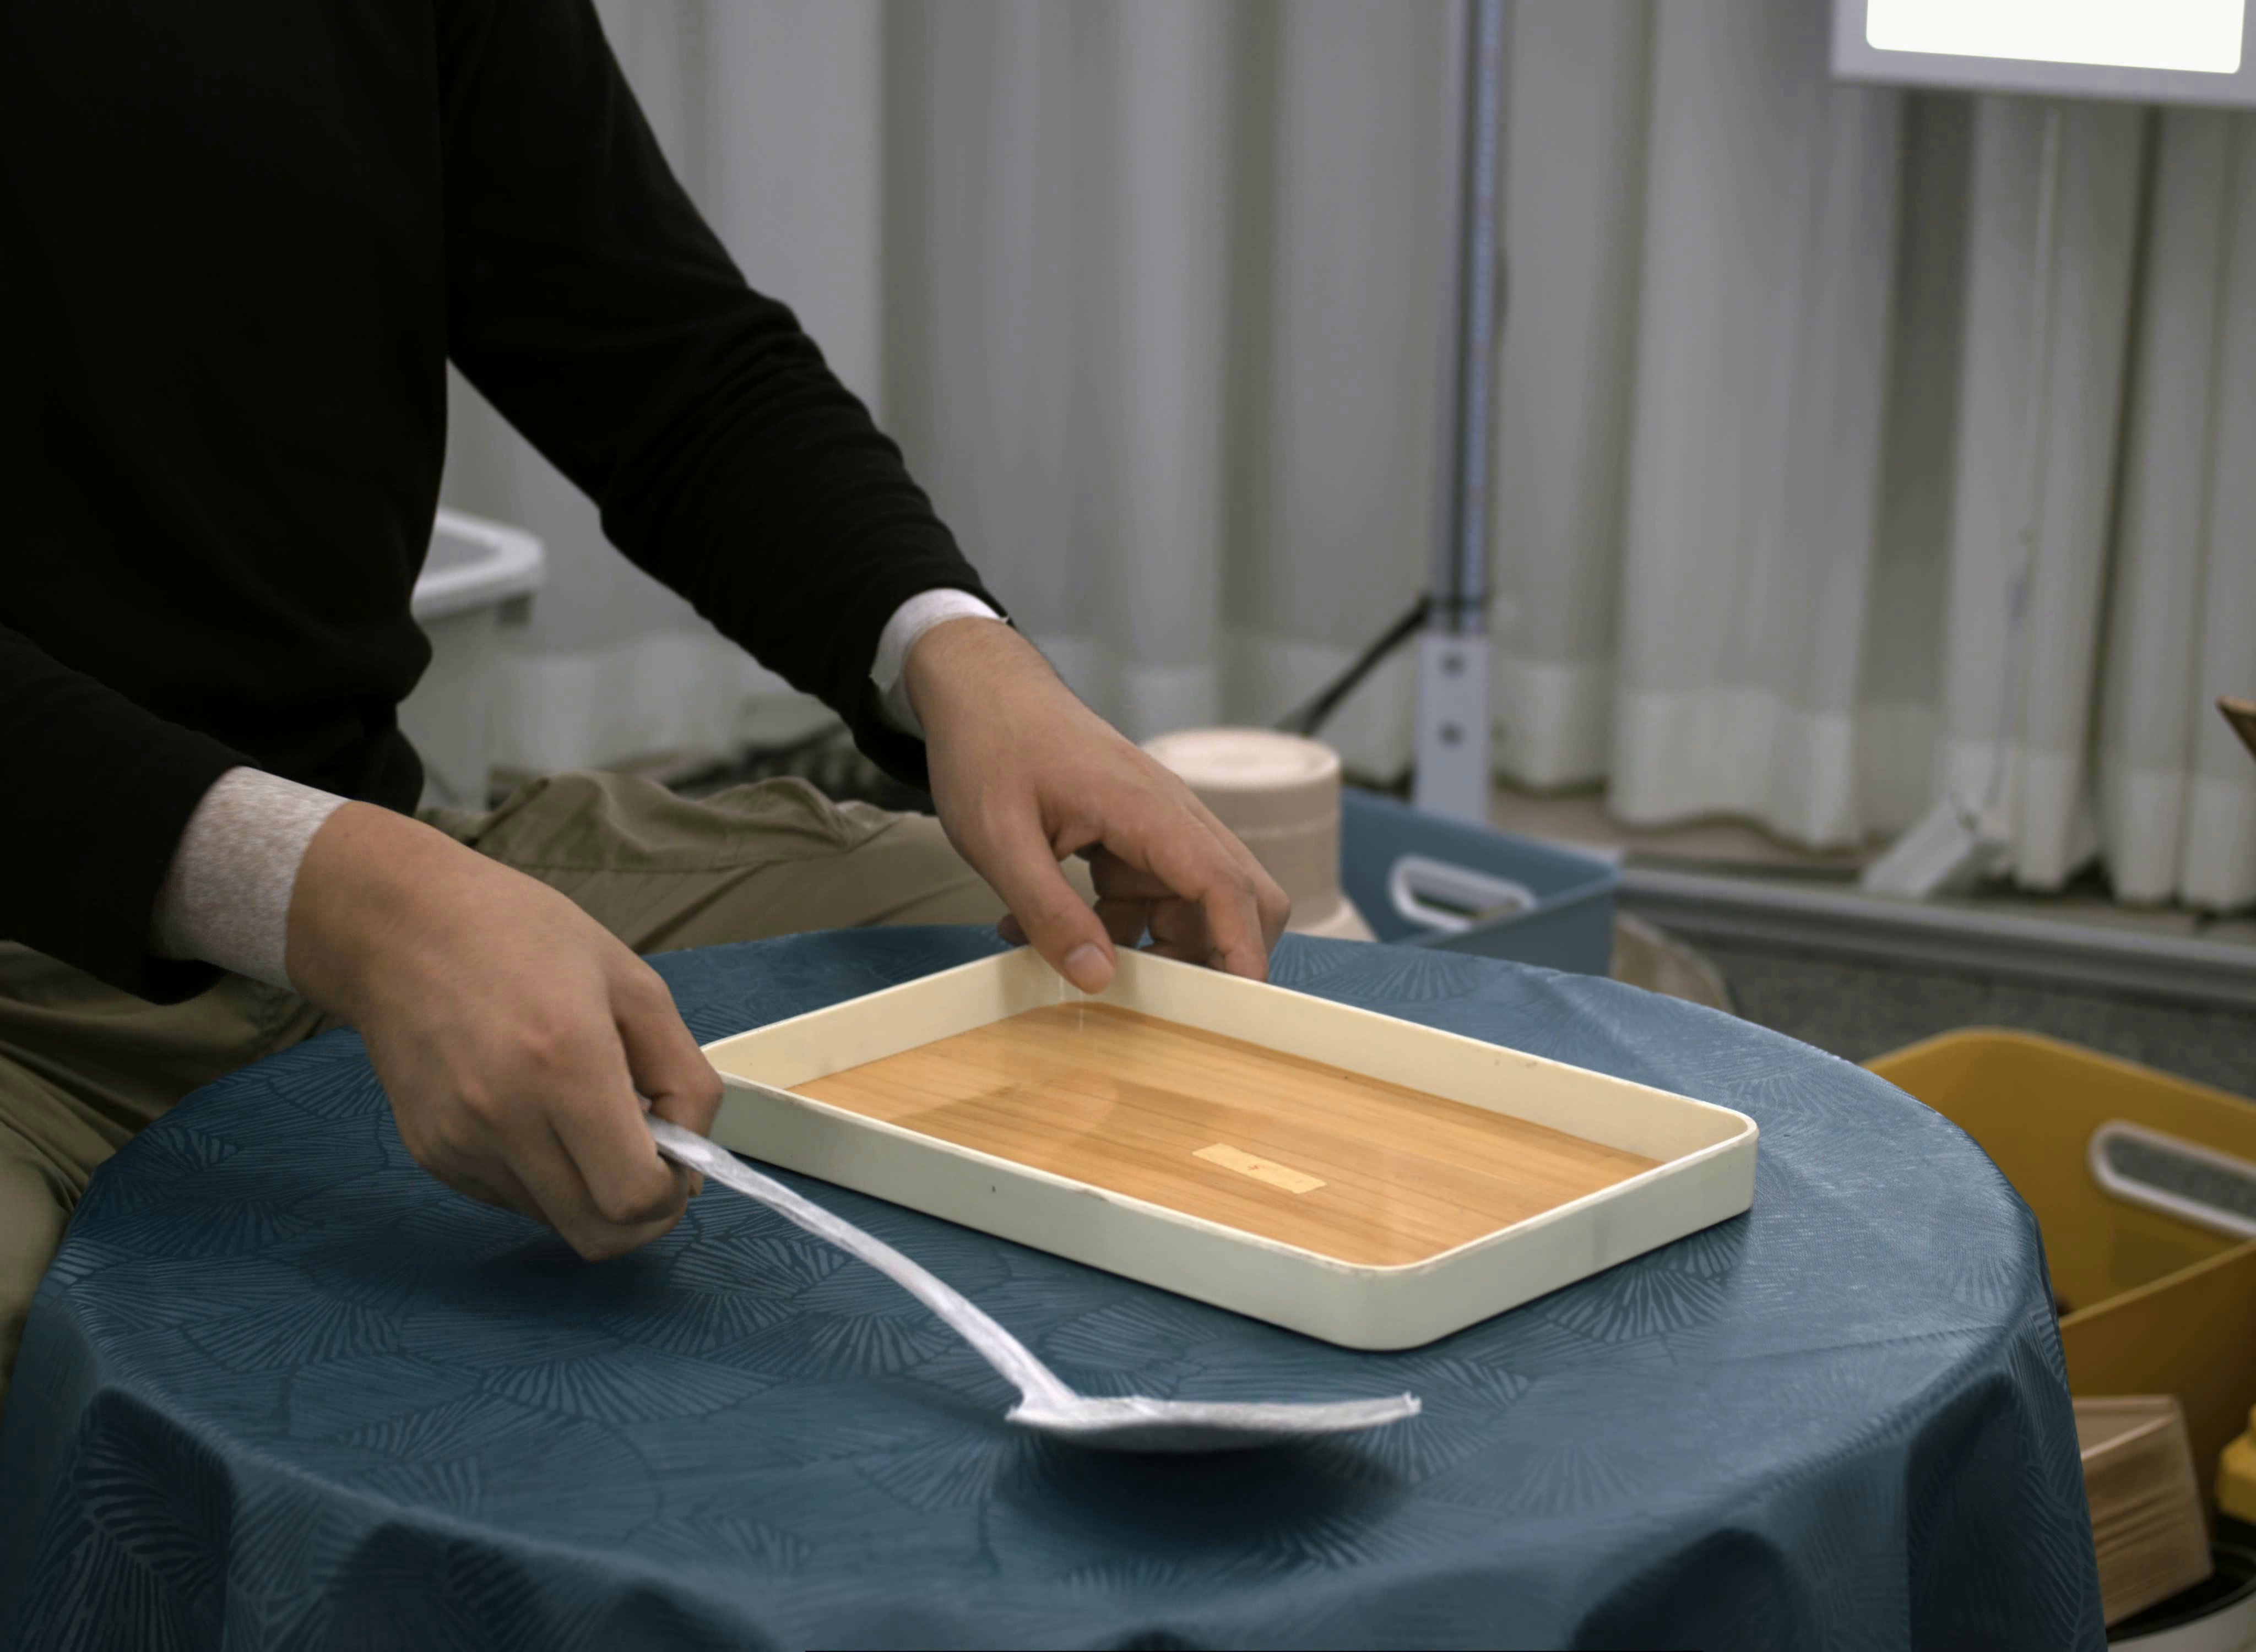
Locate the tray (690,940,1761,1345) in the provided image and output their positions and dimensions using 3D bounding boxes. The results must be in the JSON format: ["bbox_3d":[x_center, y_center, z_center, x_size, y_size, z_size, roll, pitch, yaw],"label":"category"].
[{"bbox_3d":[0.027,0.094,1.638,0.296,0.027,0.192,14,20,40],"label":"tray"}]

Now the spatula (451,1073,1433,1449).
[{"bbox_3d":[-0.074,0.114,1.475,0.360,0.045,0.099,24,13,38],"label":"spatula"}]
